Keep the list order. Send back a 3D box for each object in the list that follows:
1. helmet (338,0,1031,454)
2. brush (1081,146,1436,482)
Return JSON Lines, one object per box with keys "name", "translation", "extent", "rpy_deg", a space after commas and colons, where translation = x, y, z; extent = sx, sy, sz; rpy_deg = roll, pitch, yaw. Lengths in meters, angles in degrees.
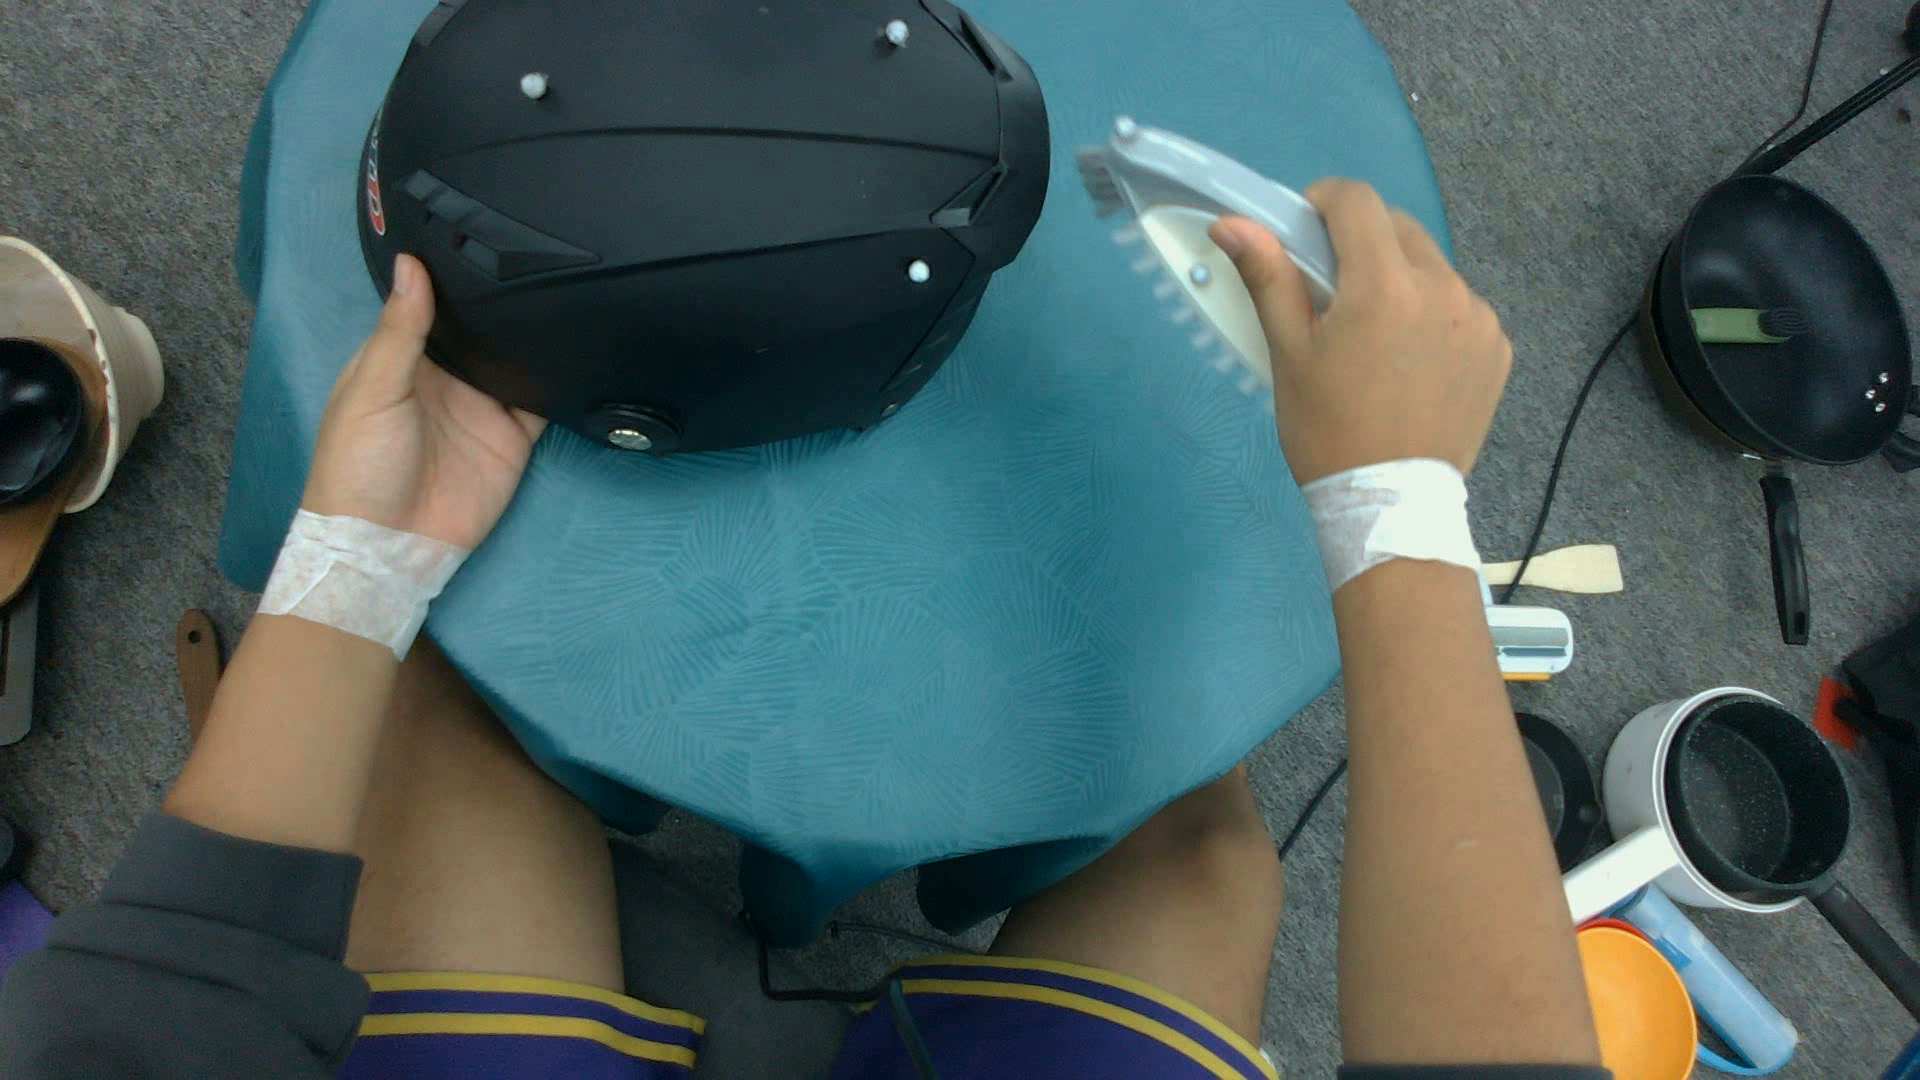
{"name": "helmet", "translation": [-0.115, -0.167, 0.581], "extent": [0.277, 0.172, 0.247], "rpy_deg": [3, 75, -19]}
{"name": "brush", "translation": [0.126, -0.108, 0.579], "extent": [0.175, 0.094, 0.061], "rpy_deg": [44, 73, 1]}
